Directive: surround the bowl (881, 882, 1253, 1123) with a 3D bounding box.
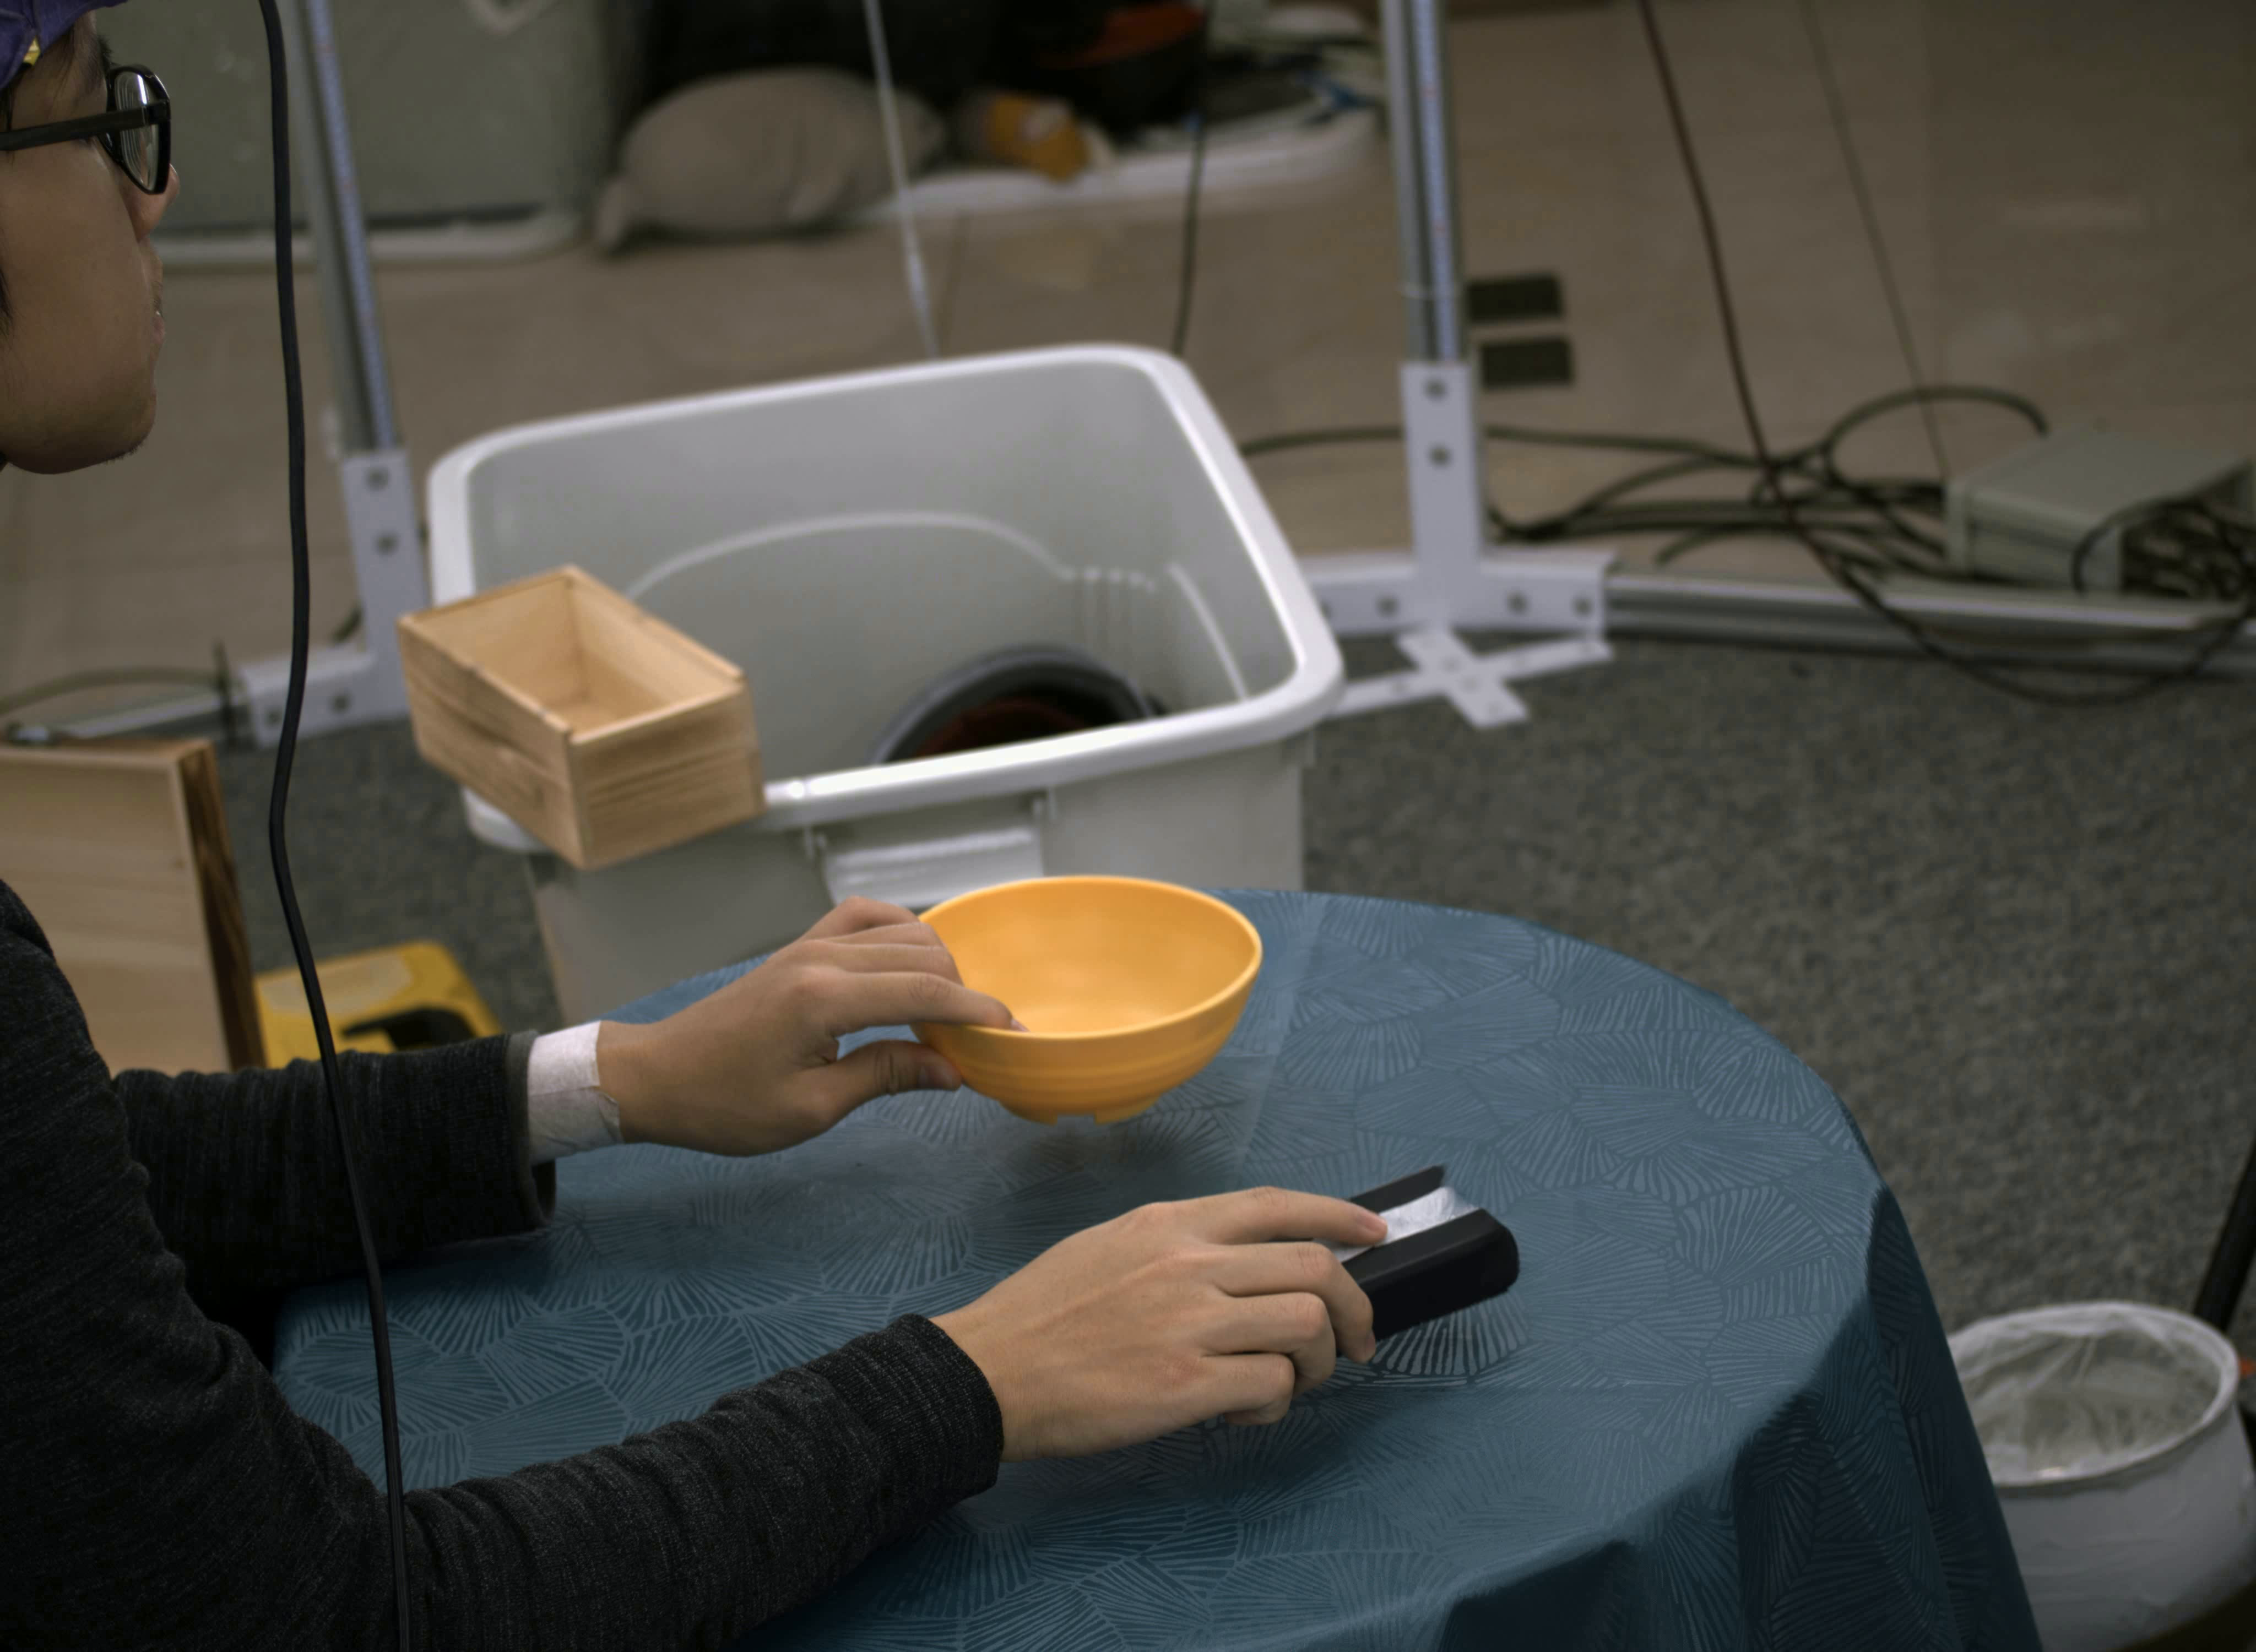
[{"bbox_3d":[-0.022,0.074,2.178,0.145,0.061,0.143,-2,22,1],"label":"bowl"}]

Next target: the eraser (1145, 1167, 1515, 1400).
[{"bbox_3d":[0.072,0.159,1.992,0.125,0.031,0.053,-20,36,-27],"label":"eraser"}]
